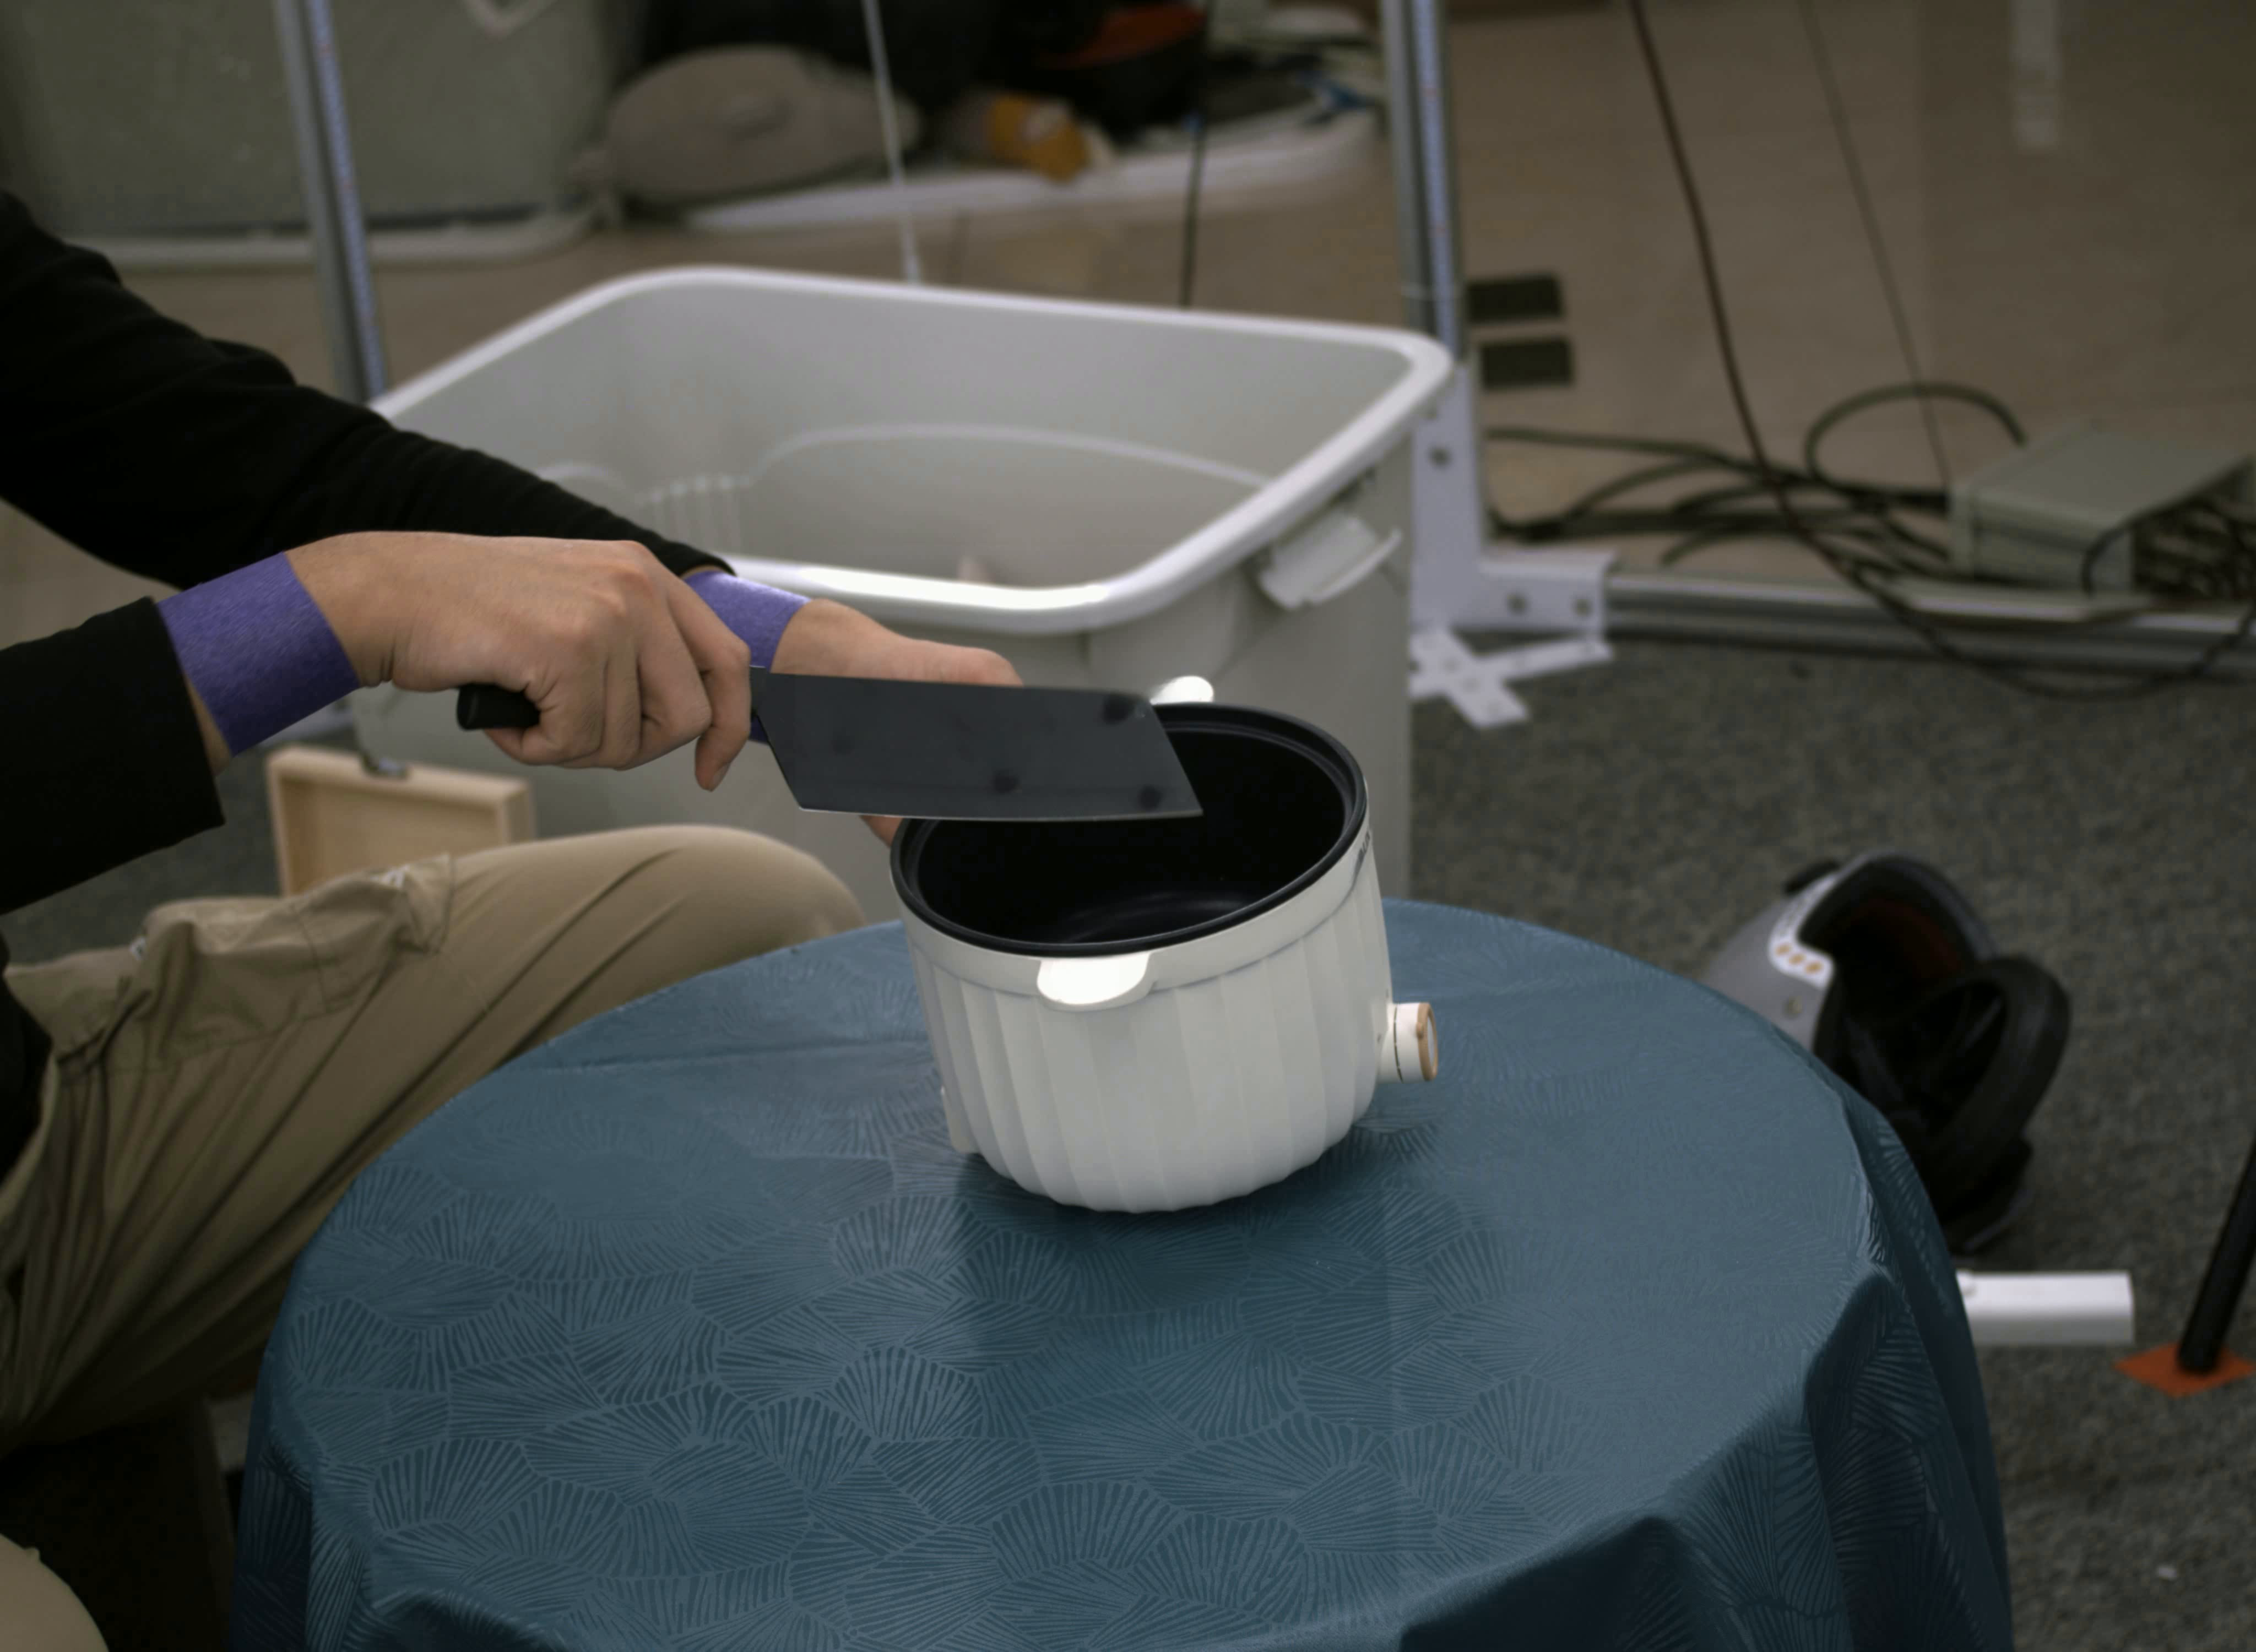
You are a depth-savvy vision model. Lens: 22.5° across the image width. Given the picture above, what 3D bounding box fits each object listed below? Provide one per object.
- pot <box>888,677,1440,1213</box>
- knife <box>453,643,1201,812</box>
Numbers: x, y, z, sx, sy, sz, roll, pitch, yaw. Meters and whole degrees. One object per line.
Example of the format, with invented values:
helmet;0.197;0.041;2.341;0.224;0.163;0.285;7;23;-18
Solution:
pot;0.016;0.054;2.149;0.190;0.145;0.236;-7;31;12
knife;-0.105;-0.035;2.027;0.302;0.021;0.079;5;48;-33
